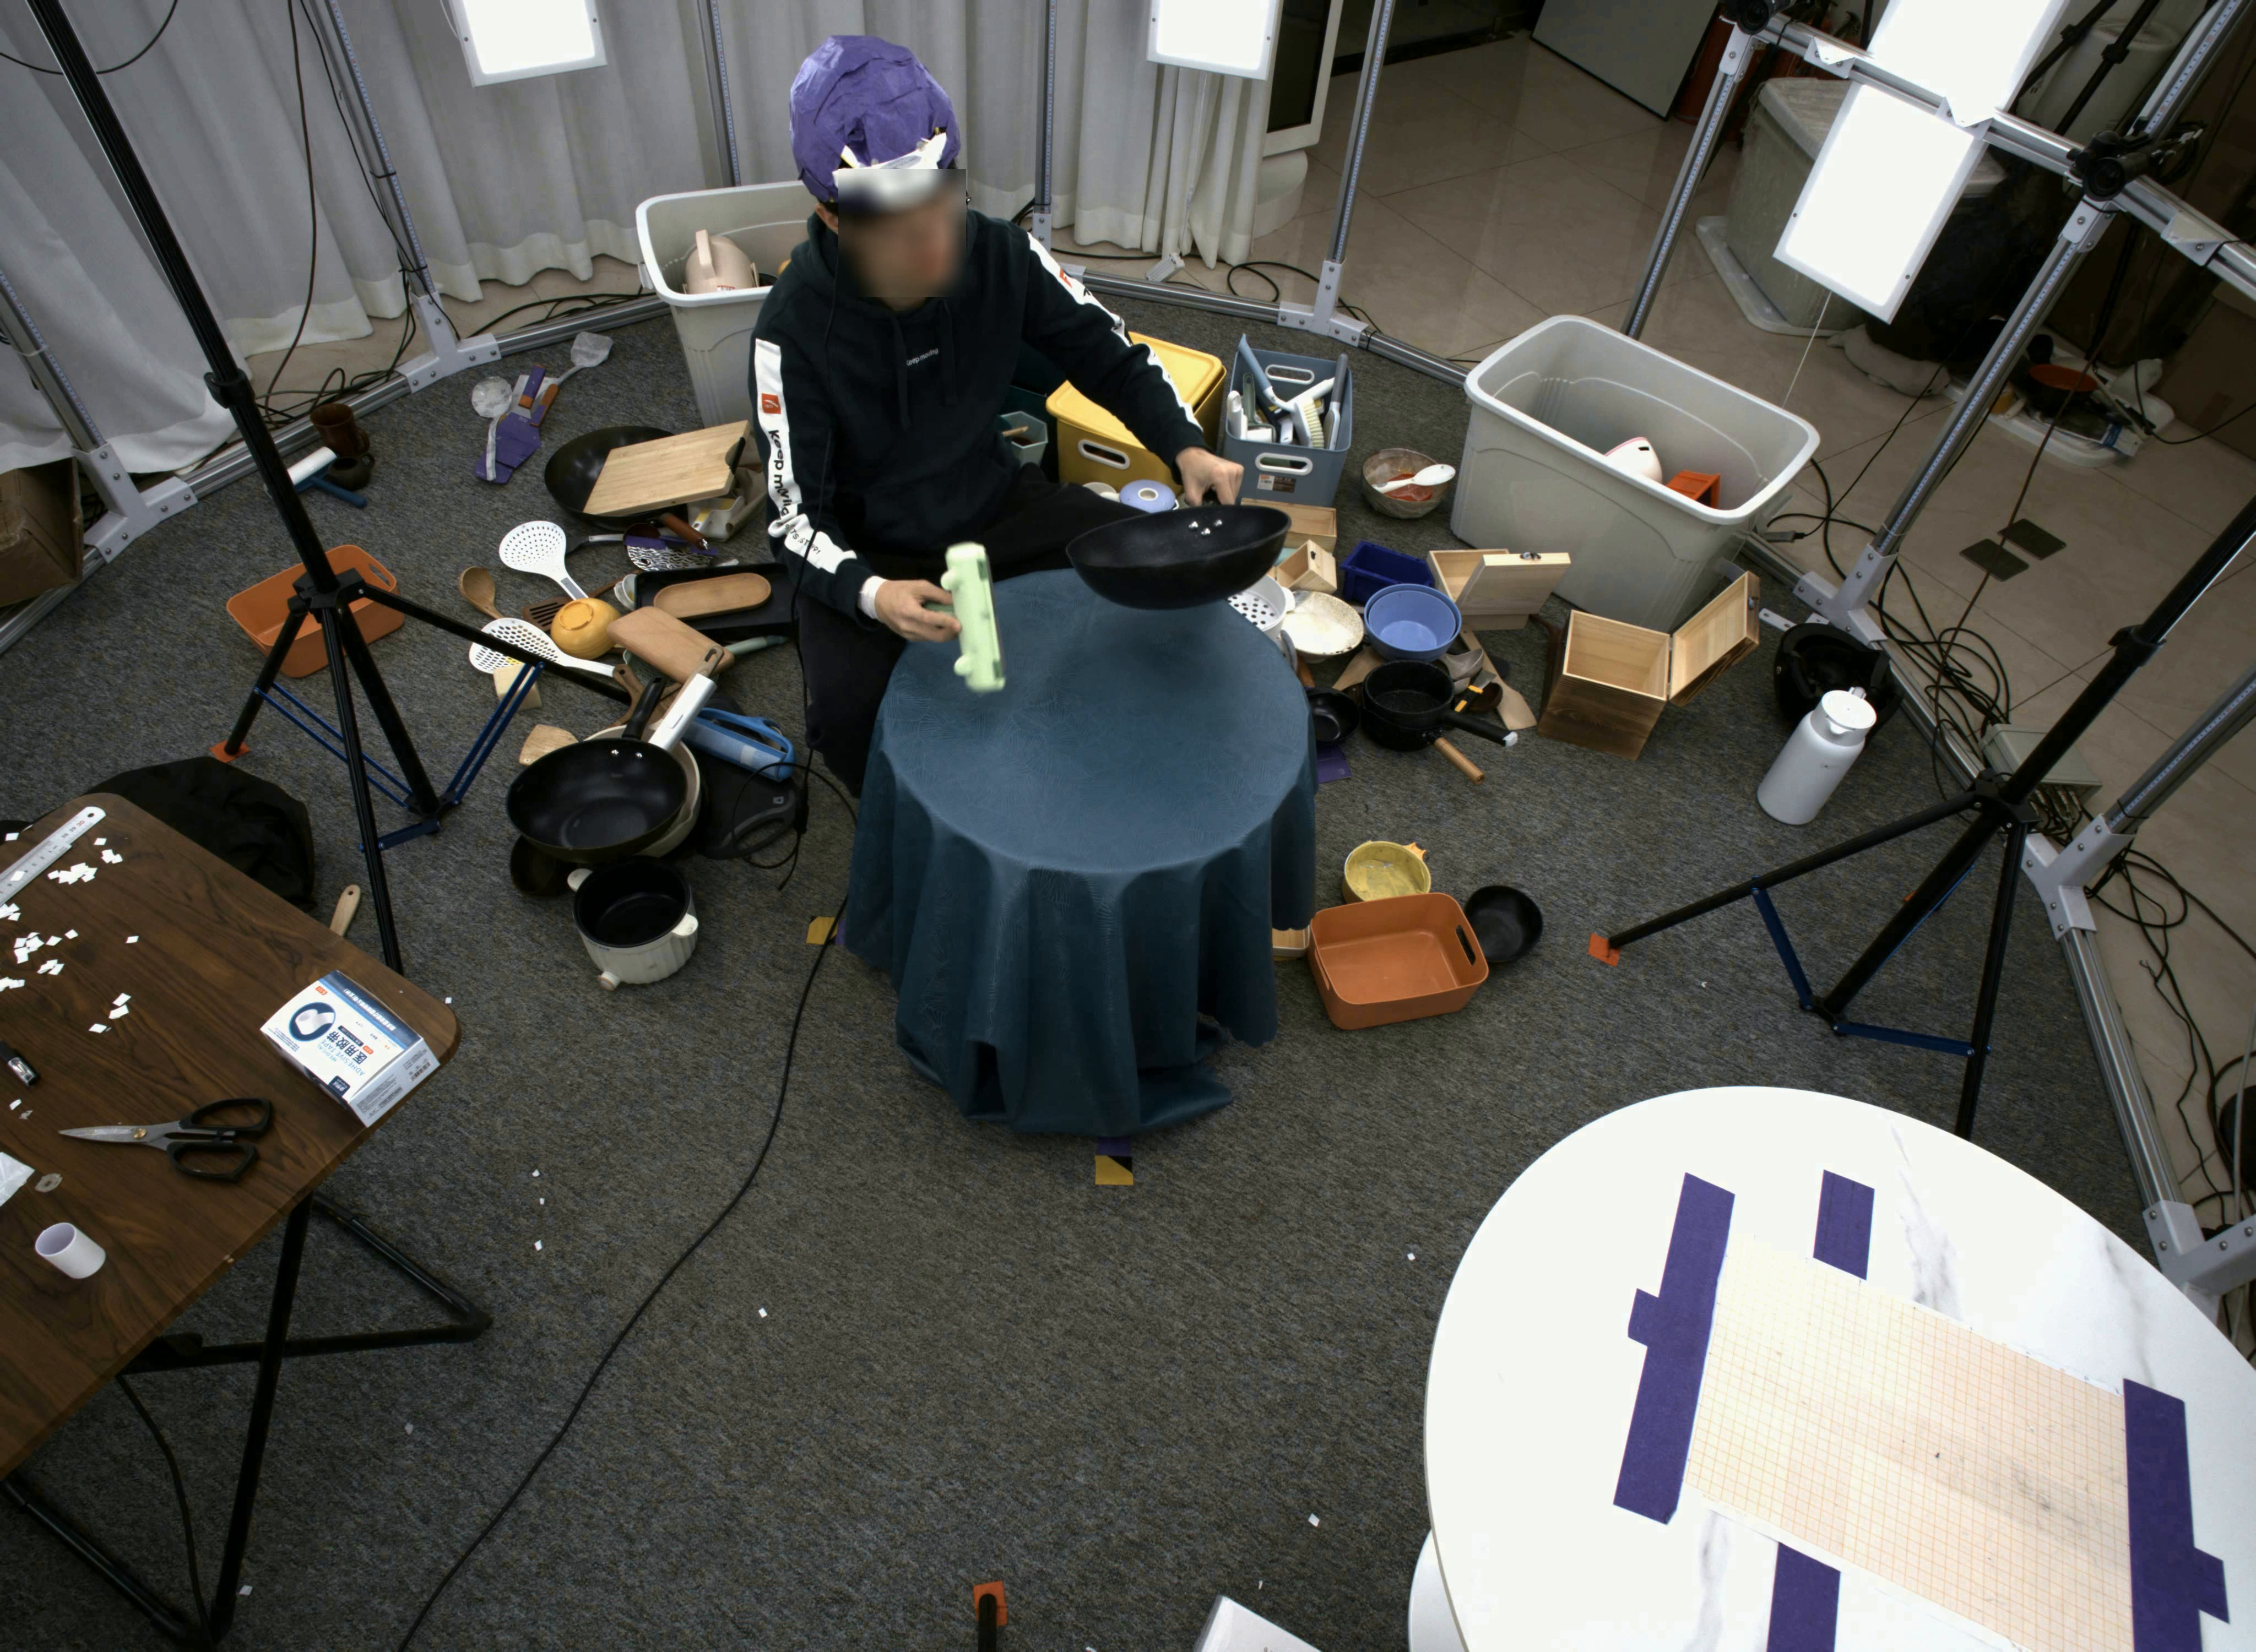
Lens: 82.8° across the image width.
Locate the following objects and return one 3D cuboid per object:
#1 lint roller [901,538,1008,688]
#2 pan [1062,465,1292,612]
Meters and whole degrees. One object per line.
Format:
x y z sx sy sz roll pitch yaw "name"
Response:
-0.255 -0.286 1.756 0.184 0.195 0.083 3 24 31 "lint roller"
0.093 -0.404 1.819 0.311 0.109 0.484 1 26 19 "pan"
